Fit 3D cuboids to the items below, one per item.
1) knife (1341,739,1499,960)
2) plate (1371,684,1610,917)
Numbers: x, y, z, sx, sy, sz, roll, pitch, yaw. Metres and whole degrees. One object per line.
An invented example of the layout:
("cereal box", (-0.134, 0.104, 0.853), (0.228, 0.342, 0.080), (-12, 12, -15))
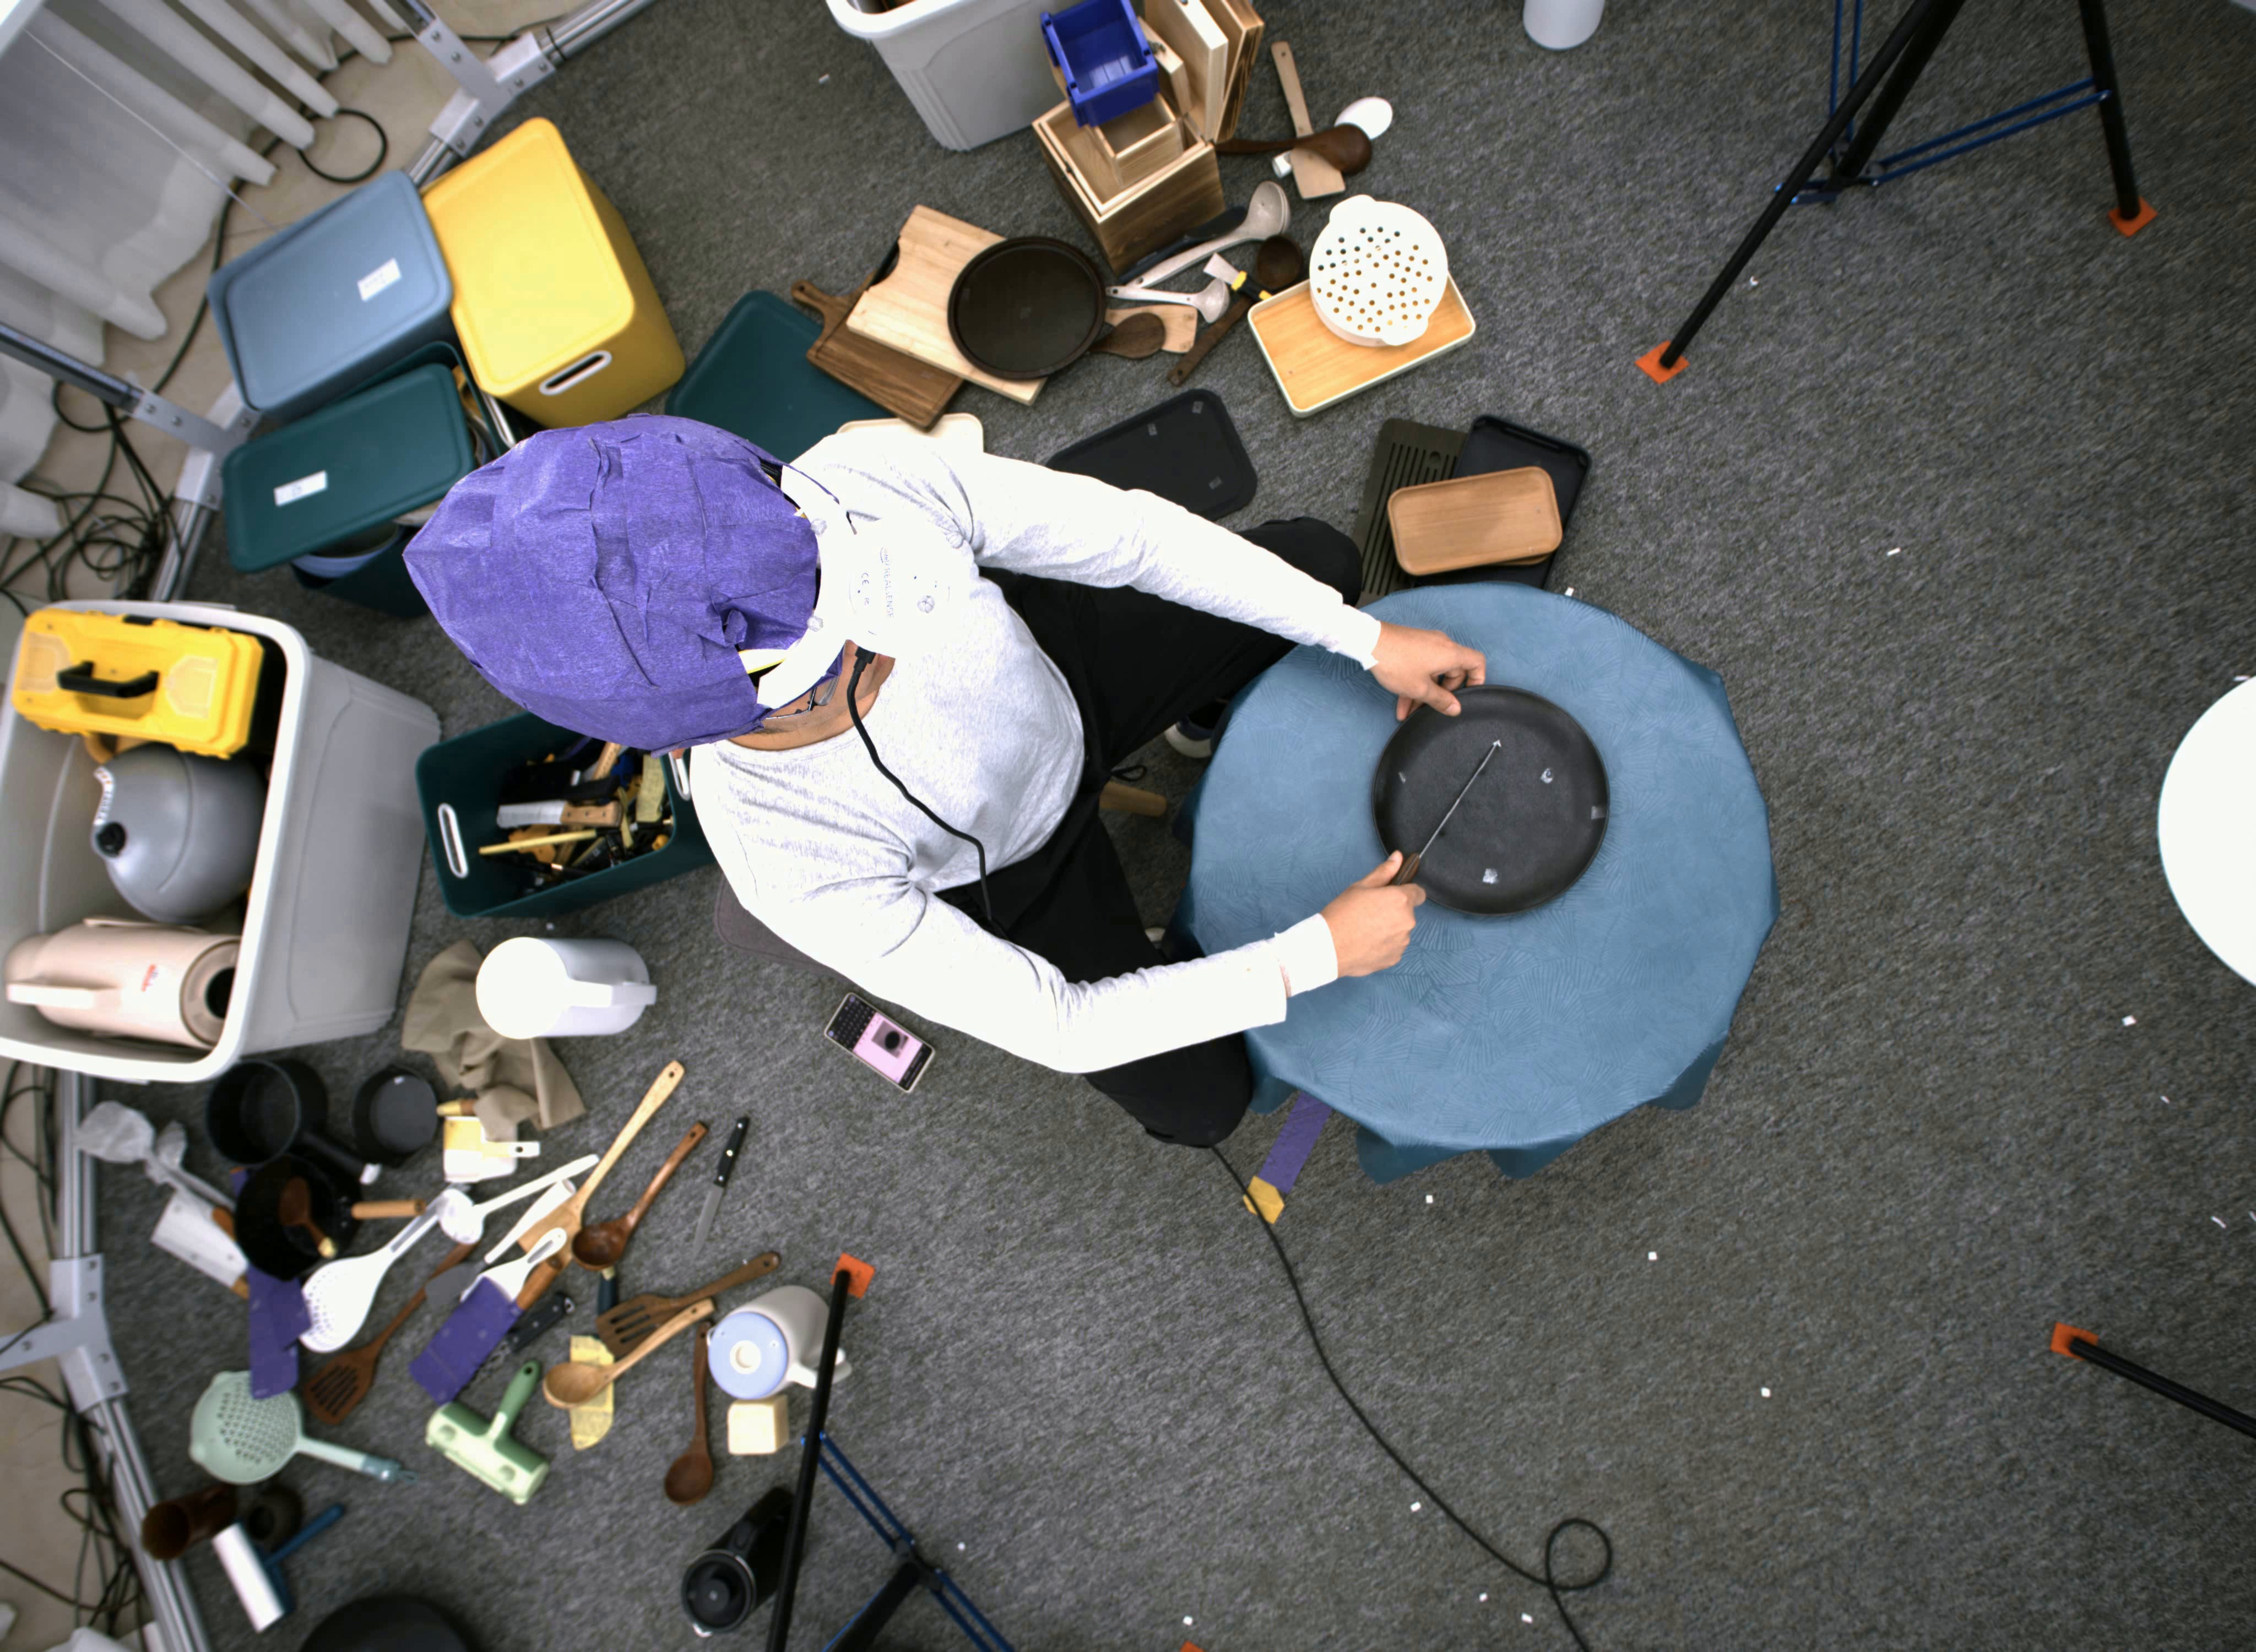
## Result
("knife", (0.302, 0.018, 1.401), (0.020, 0.051, 0.286), (35, 79, 14))
("plate", (0.377, -0.029, 1.434), (0.245, 0.023, 0.243), (-1, 87, 11))
